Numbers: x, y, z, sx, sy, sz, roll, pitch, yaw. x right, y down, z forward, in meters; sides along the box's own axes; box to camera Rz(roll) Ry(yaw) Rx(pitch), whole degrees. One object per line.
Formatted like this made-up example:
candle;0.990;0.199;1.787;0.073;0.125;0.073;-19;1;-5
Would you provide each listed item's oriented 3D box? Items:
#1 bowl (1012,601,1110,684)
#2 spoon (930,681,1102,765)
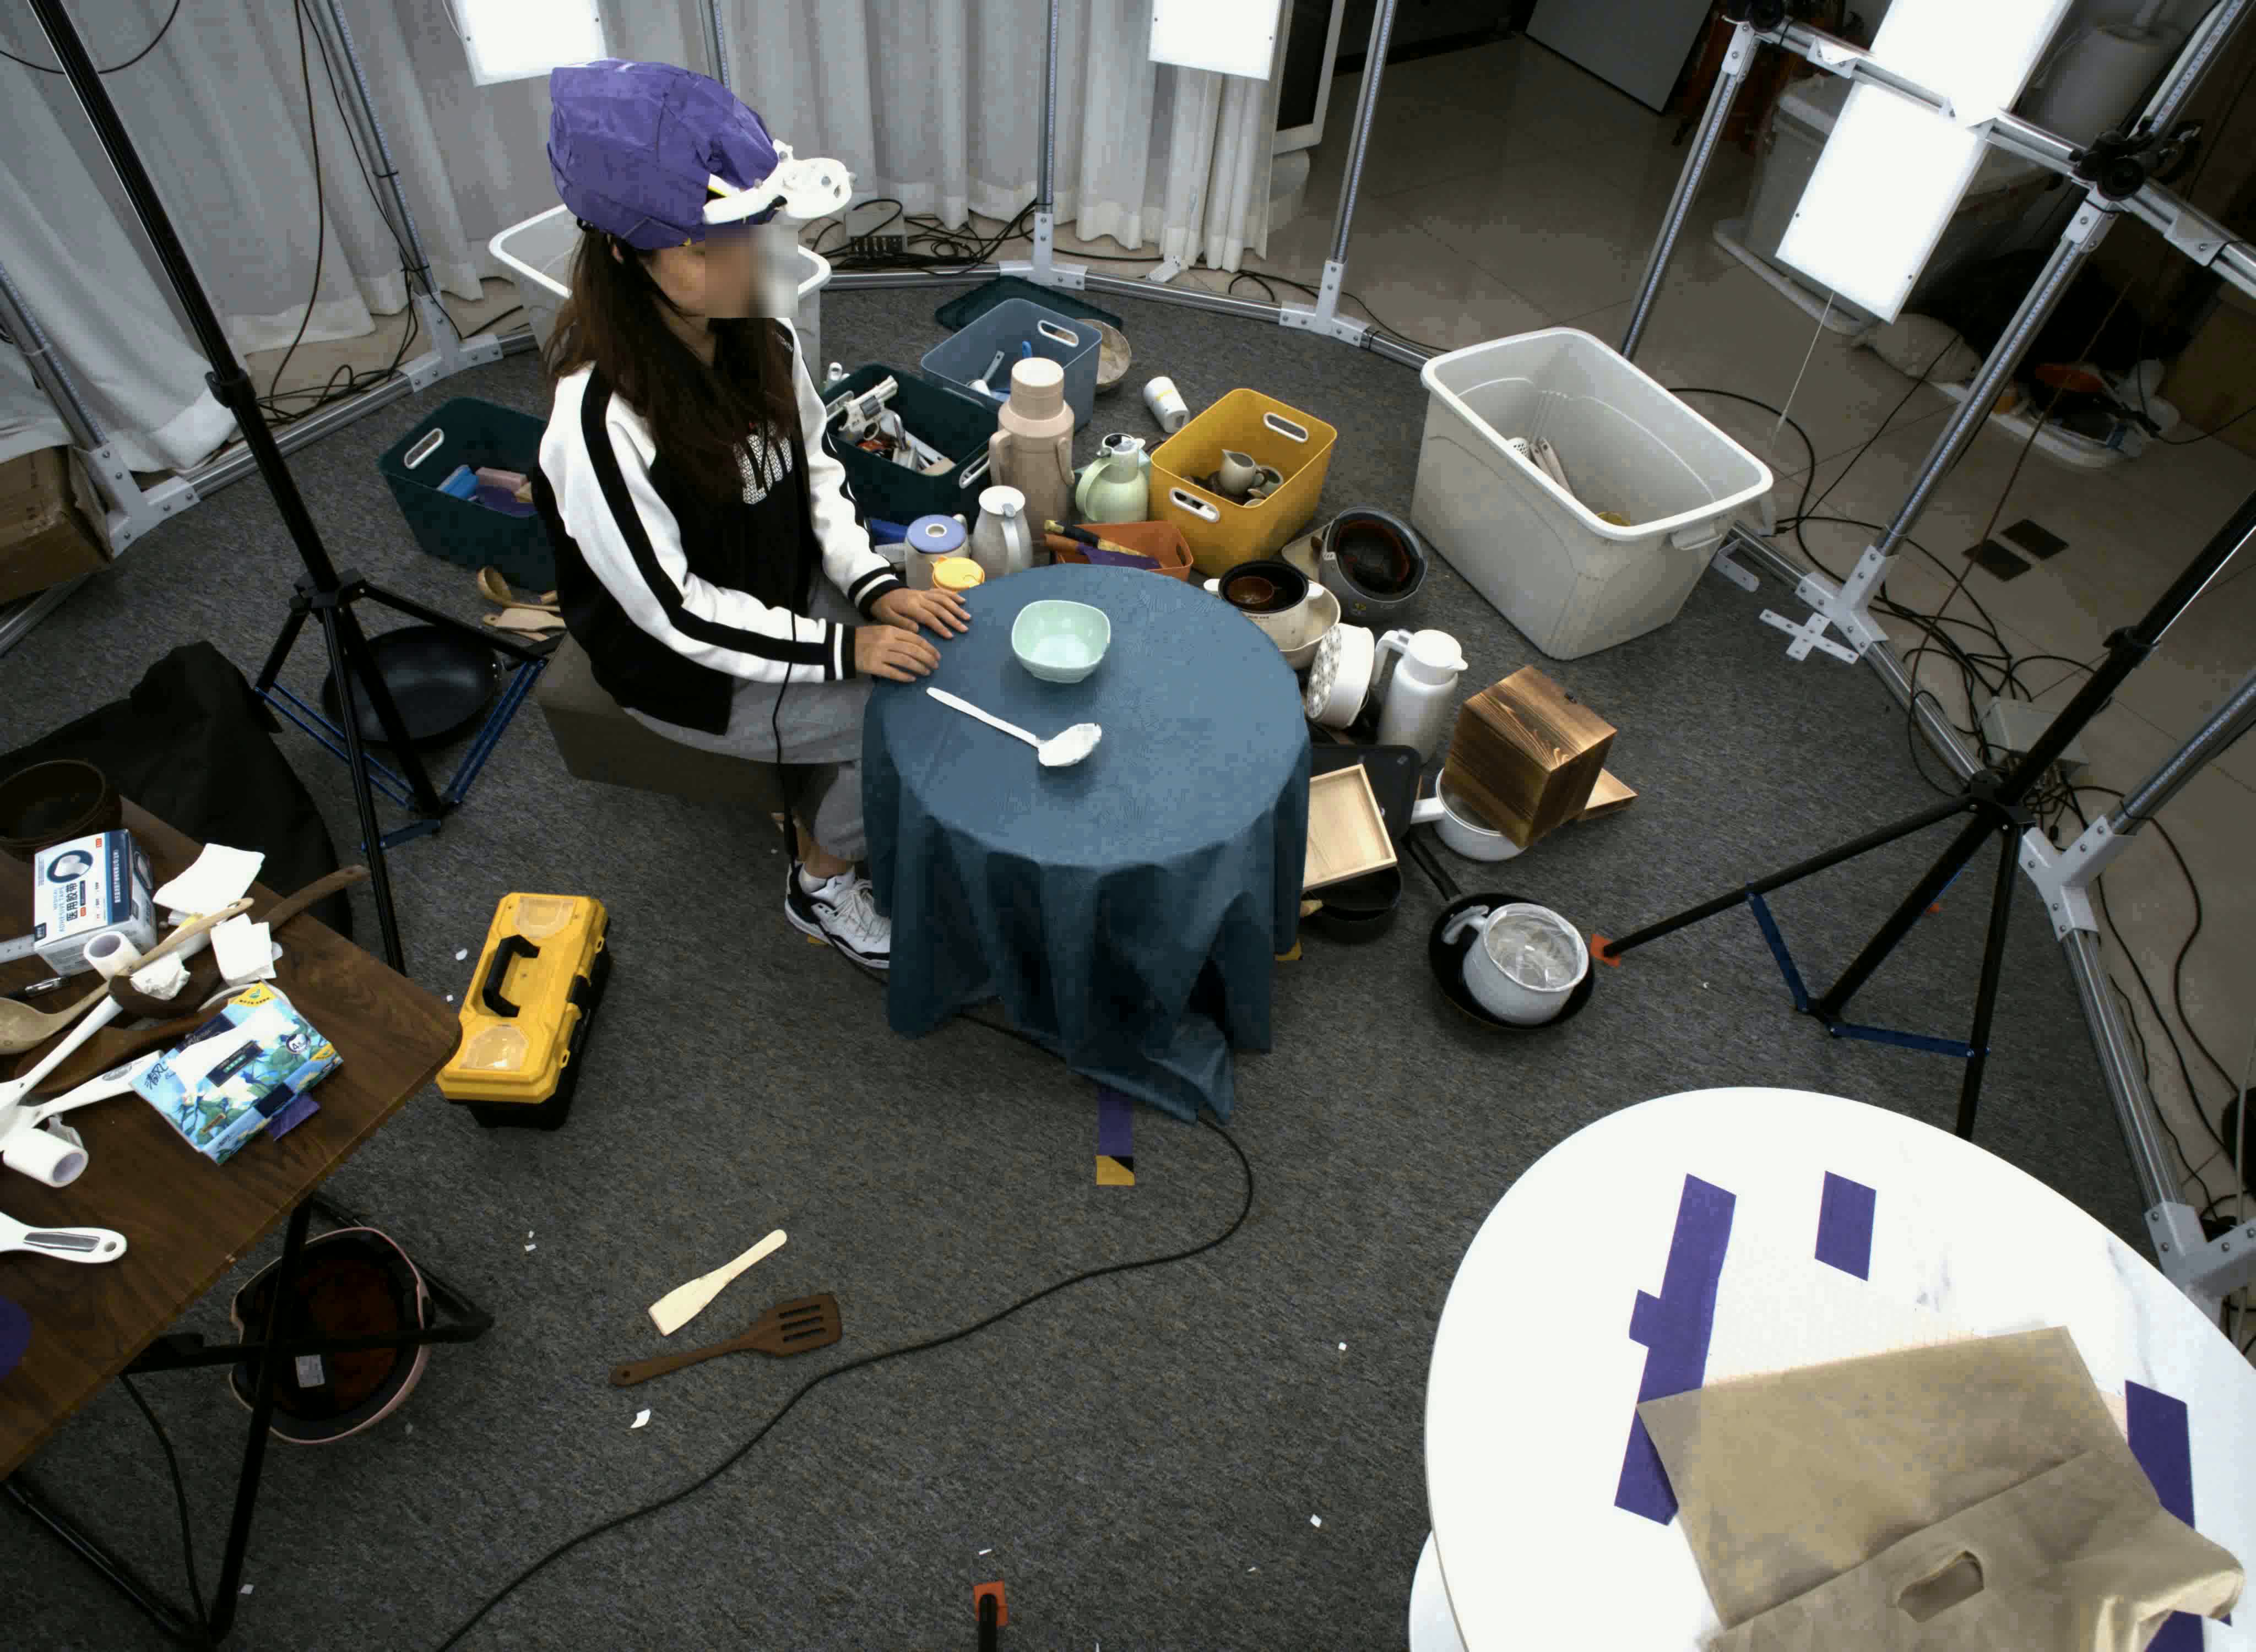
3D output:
bowl;-0.097;-0.256;1.851;0.151;0.057;0.155;2;49;-3
spoon;-0.159;-0.158;1.759;0.280;0.058;0.102;30;48;20
